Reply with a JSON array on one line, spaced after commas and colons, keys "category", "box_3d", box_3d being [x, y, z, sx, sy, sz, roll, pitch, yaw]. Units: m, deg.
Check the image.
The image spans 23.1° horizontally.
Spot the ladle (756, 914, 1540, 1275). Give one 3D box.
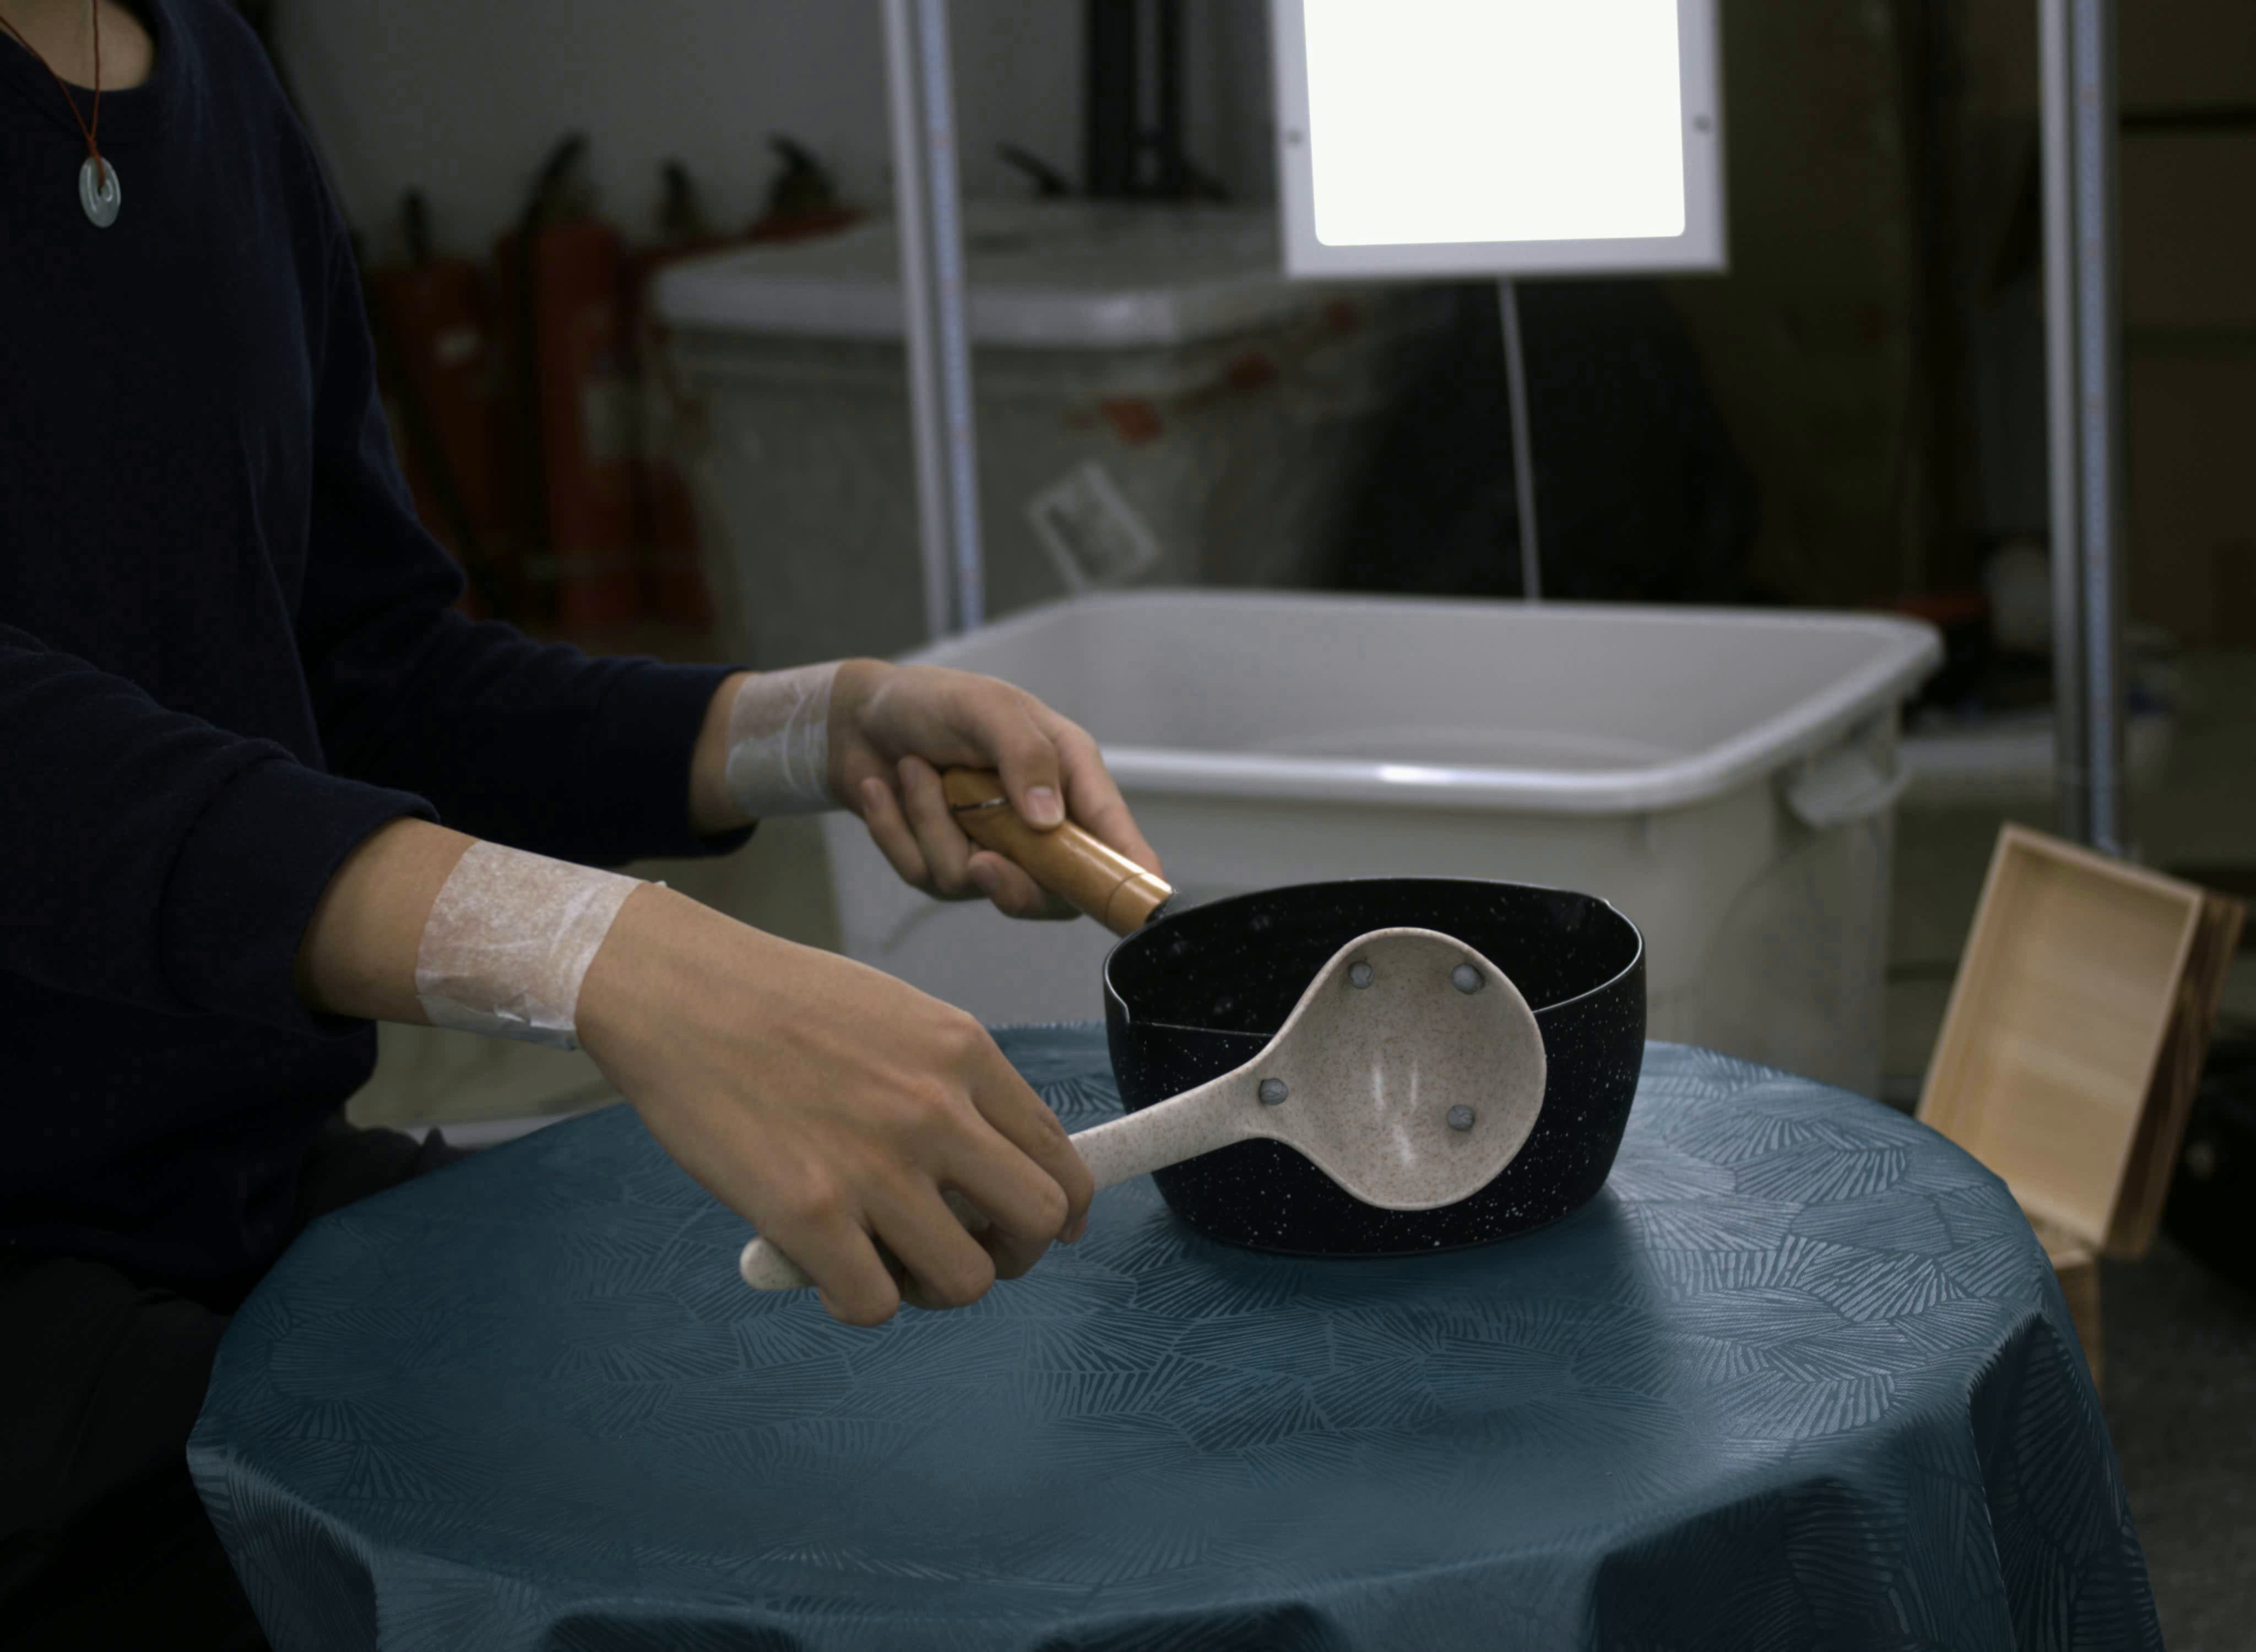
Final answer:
[{"category": "ladle", "box_3d": [0.012, 0.090, 1.588, 0.071, 0.089, 0.268, 0, 11, 43]}]

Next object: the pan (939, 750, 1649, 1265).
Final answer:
[{"category": "pan", "box_3d": [0.037, 0.057, 1.923, 0.202, 0.108, 0.349, -16, 20, -33]}]
